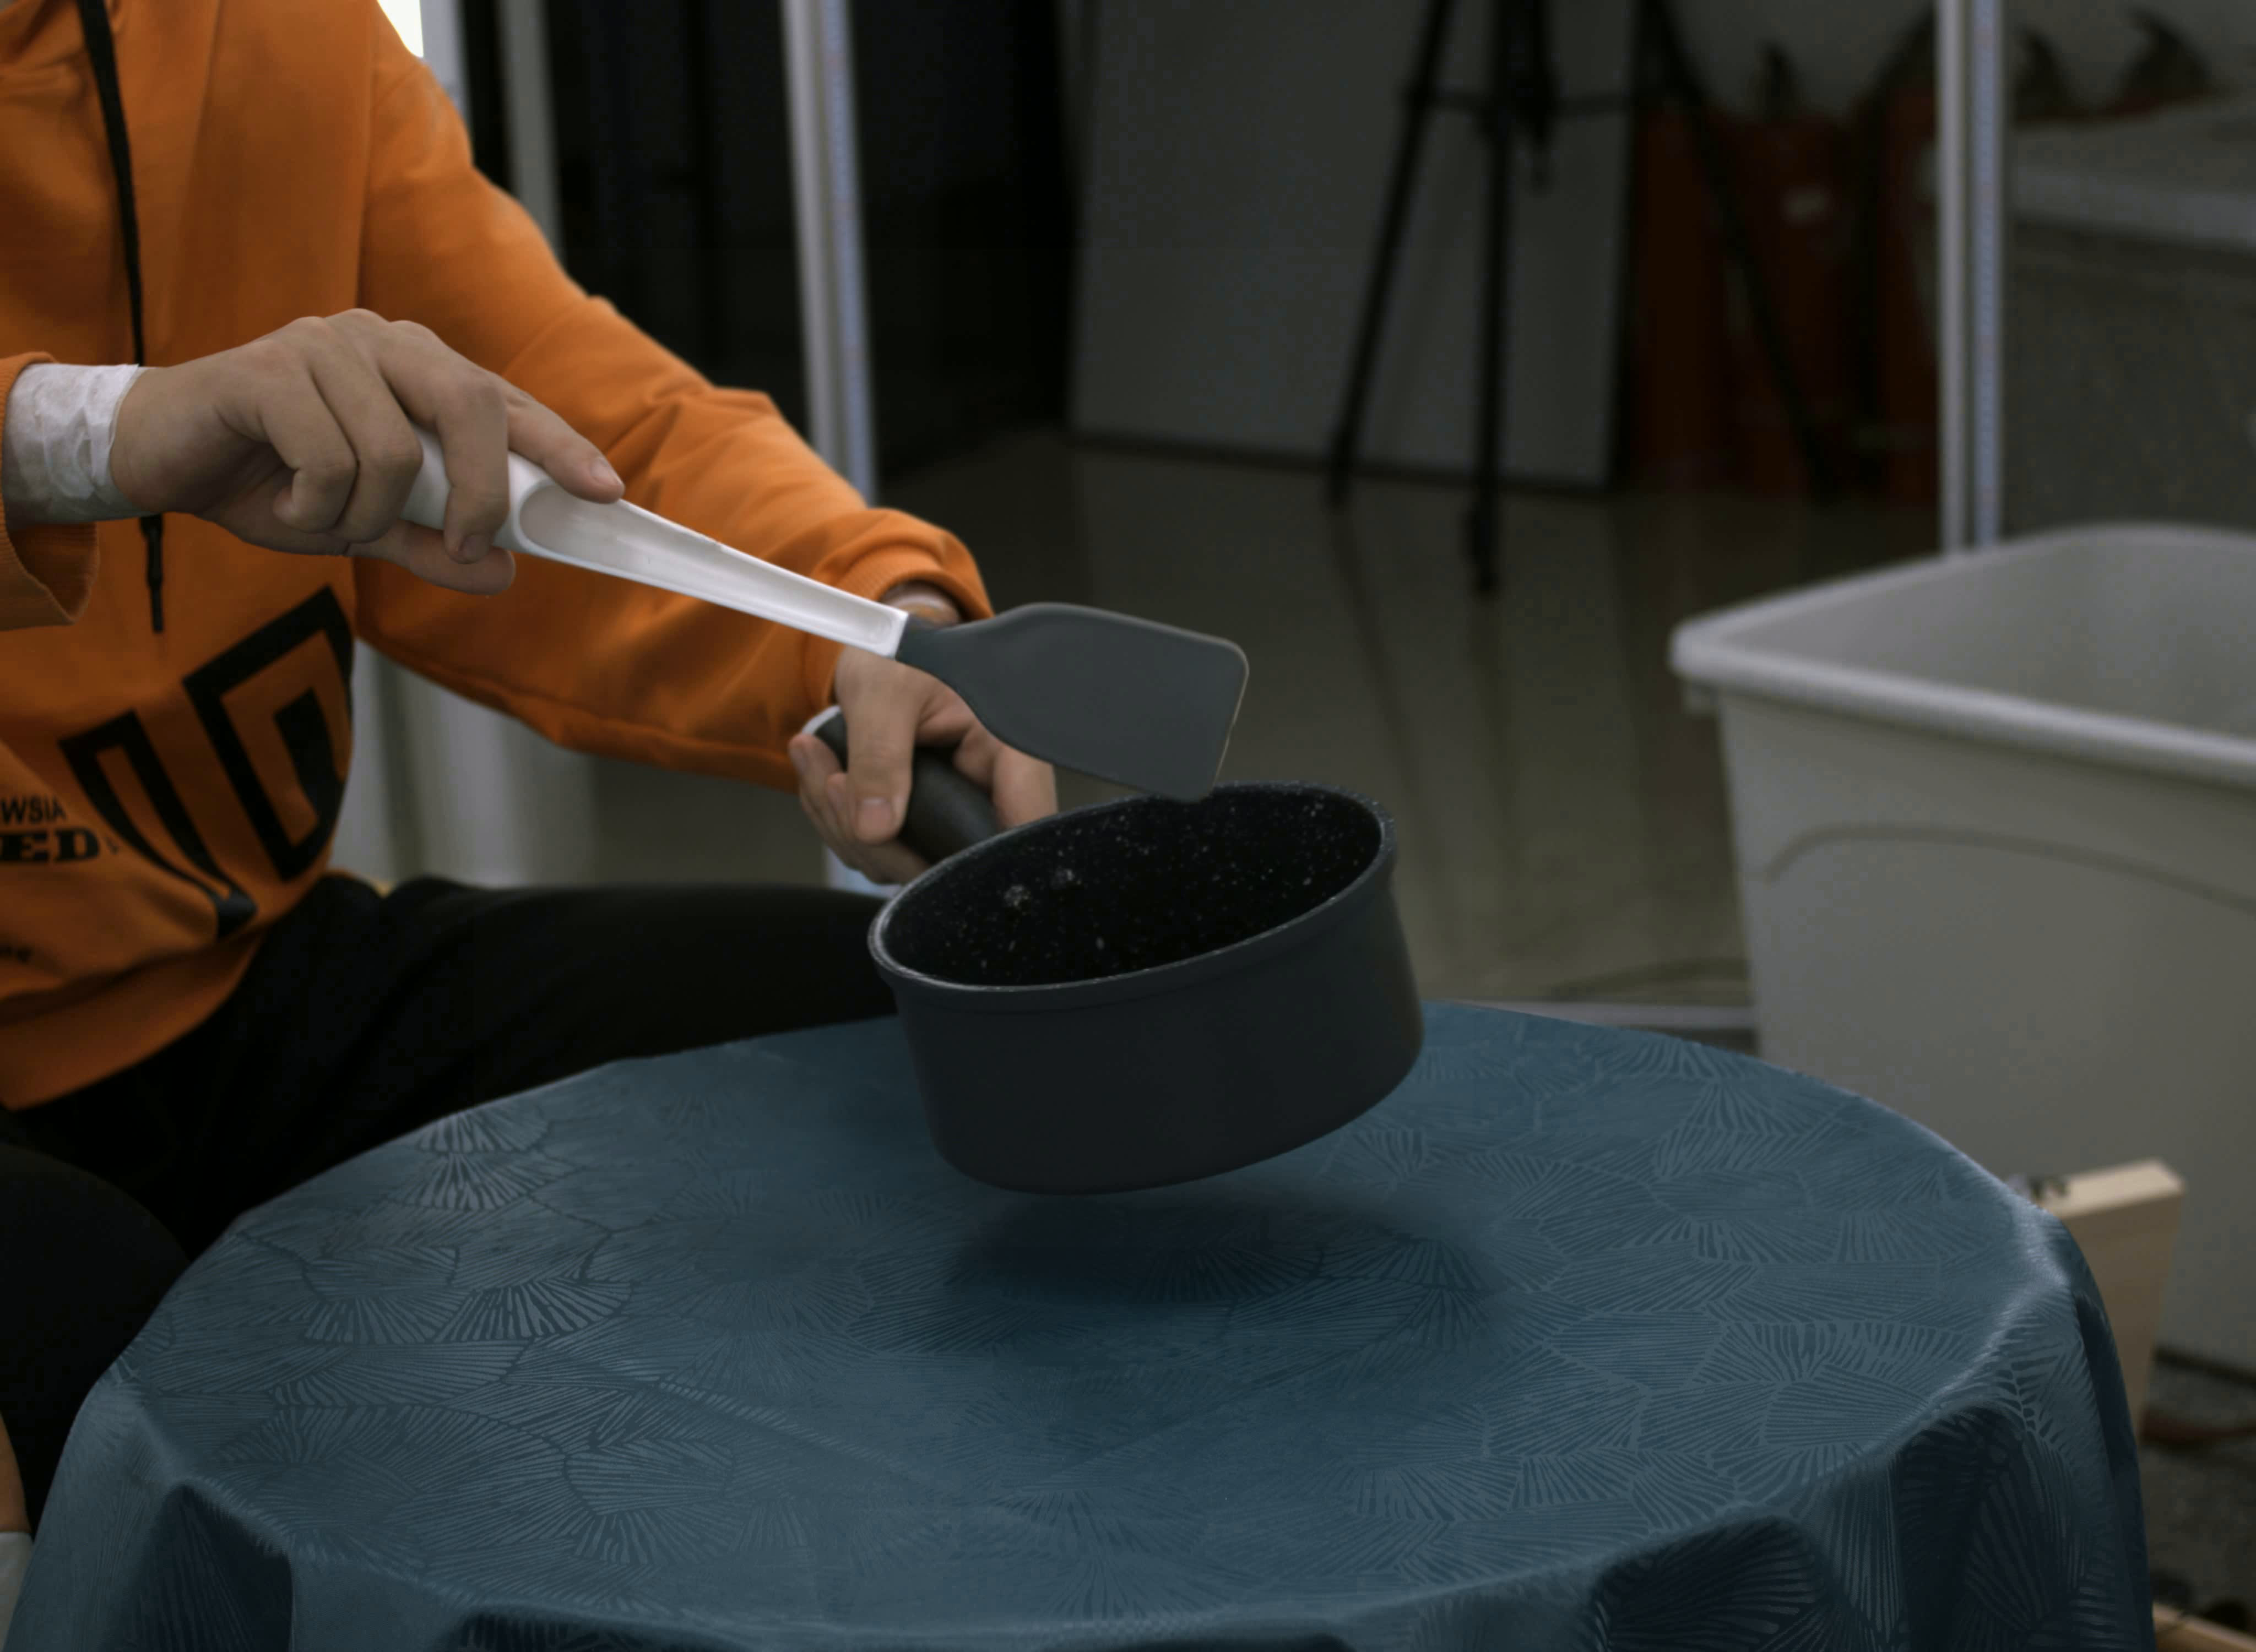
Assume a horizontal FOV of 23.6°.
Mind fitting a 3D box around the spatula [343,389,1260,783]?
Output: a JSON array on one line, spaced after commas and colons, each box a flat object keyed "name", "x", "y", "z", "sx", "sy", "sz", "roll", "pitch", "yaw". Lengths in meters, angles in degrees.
[{"name": "spatula", "x": -0.100, "y": -0.077, "z": 1.655, "sx": 0.285, "sy": 0.059, "sz": 0.032, "roll": 17, "pitch": 6, "yaw": 5}]

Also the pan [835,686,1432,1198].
[{"name": "pan", "x": -0.021, "y": 0.030, "z": 1.776, "sx": 0.169, "sy": 0.087, "sz": 0.332, "roll": -19, "pitch": 20, "yaw": -18}]
